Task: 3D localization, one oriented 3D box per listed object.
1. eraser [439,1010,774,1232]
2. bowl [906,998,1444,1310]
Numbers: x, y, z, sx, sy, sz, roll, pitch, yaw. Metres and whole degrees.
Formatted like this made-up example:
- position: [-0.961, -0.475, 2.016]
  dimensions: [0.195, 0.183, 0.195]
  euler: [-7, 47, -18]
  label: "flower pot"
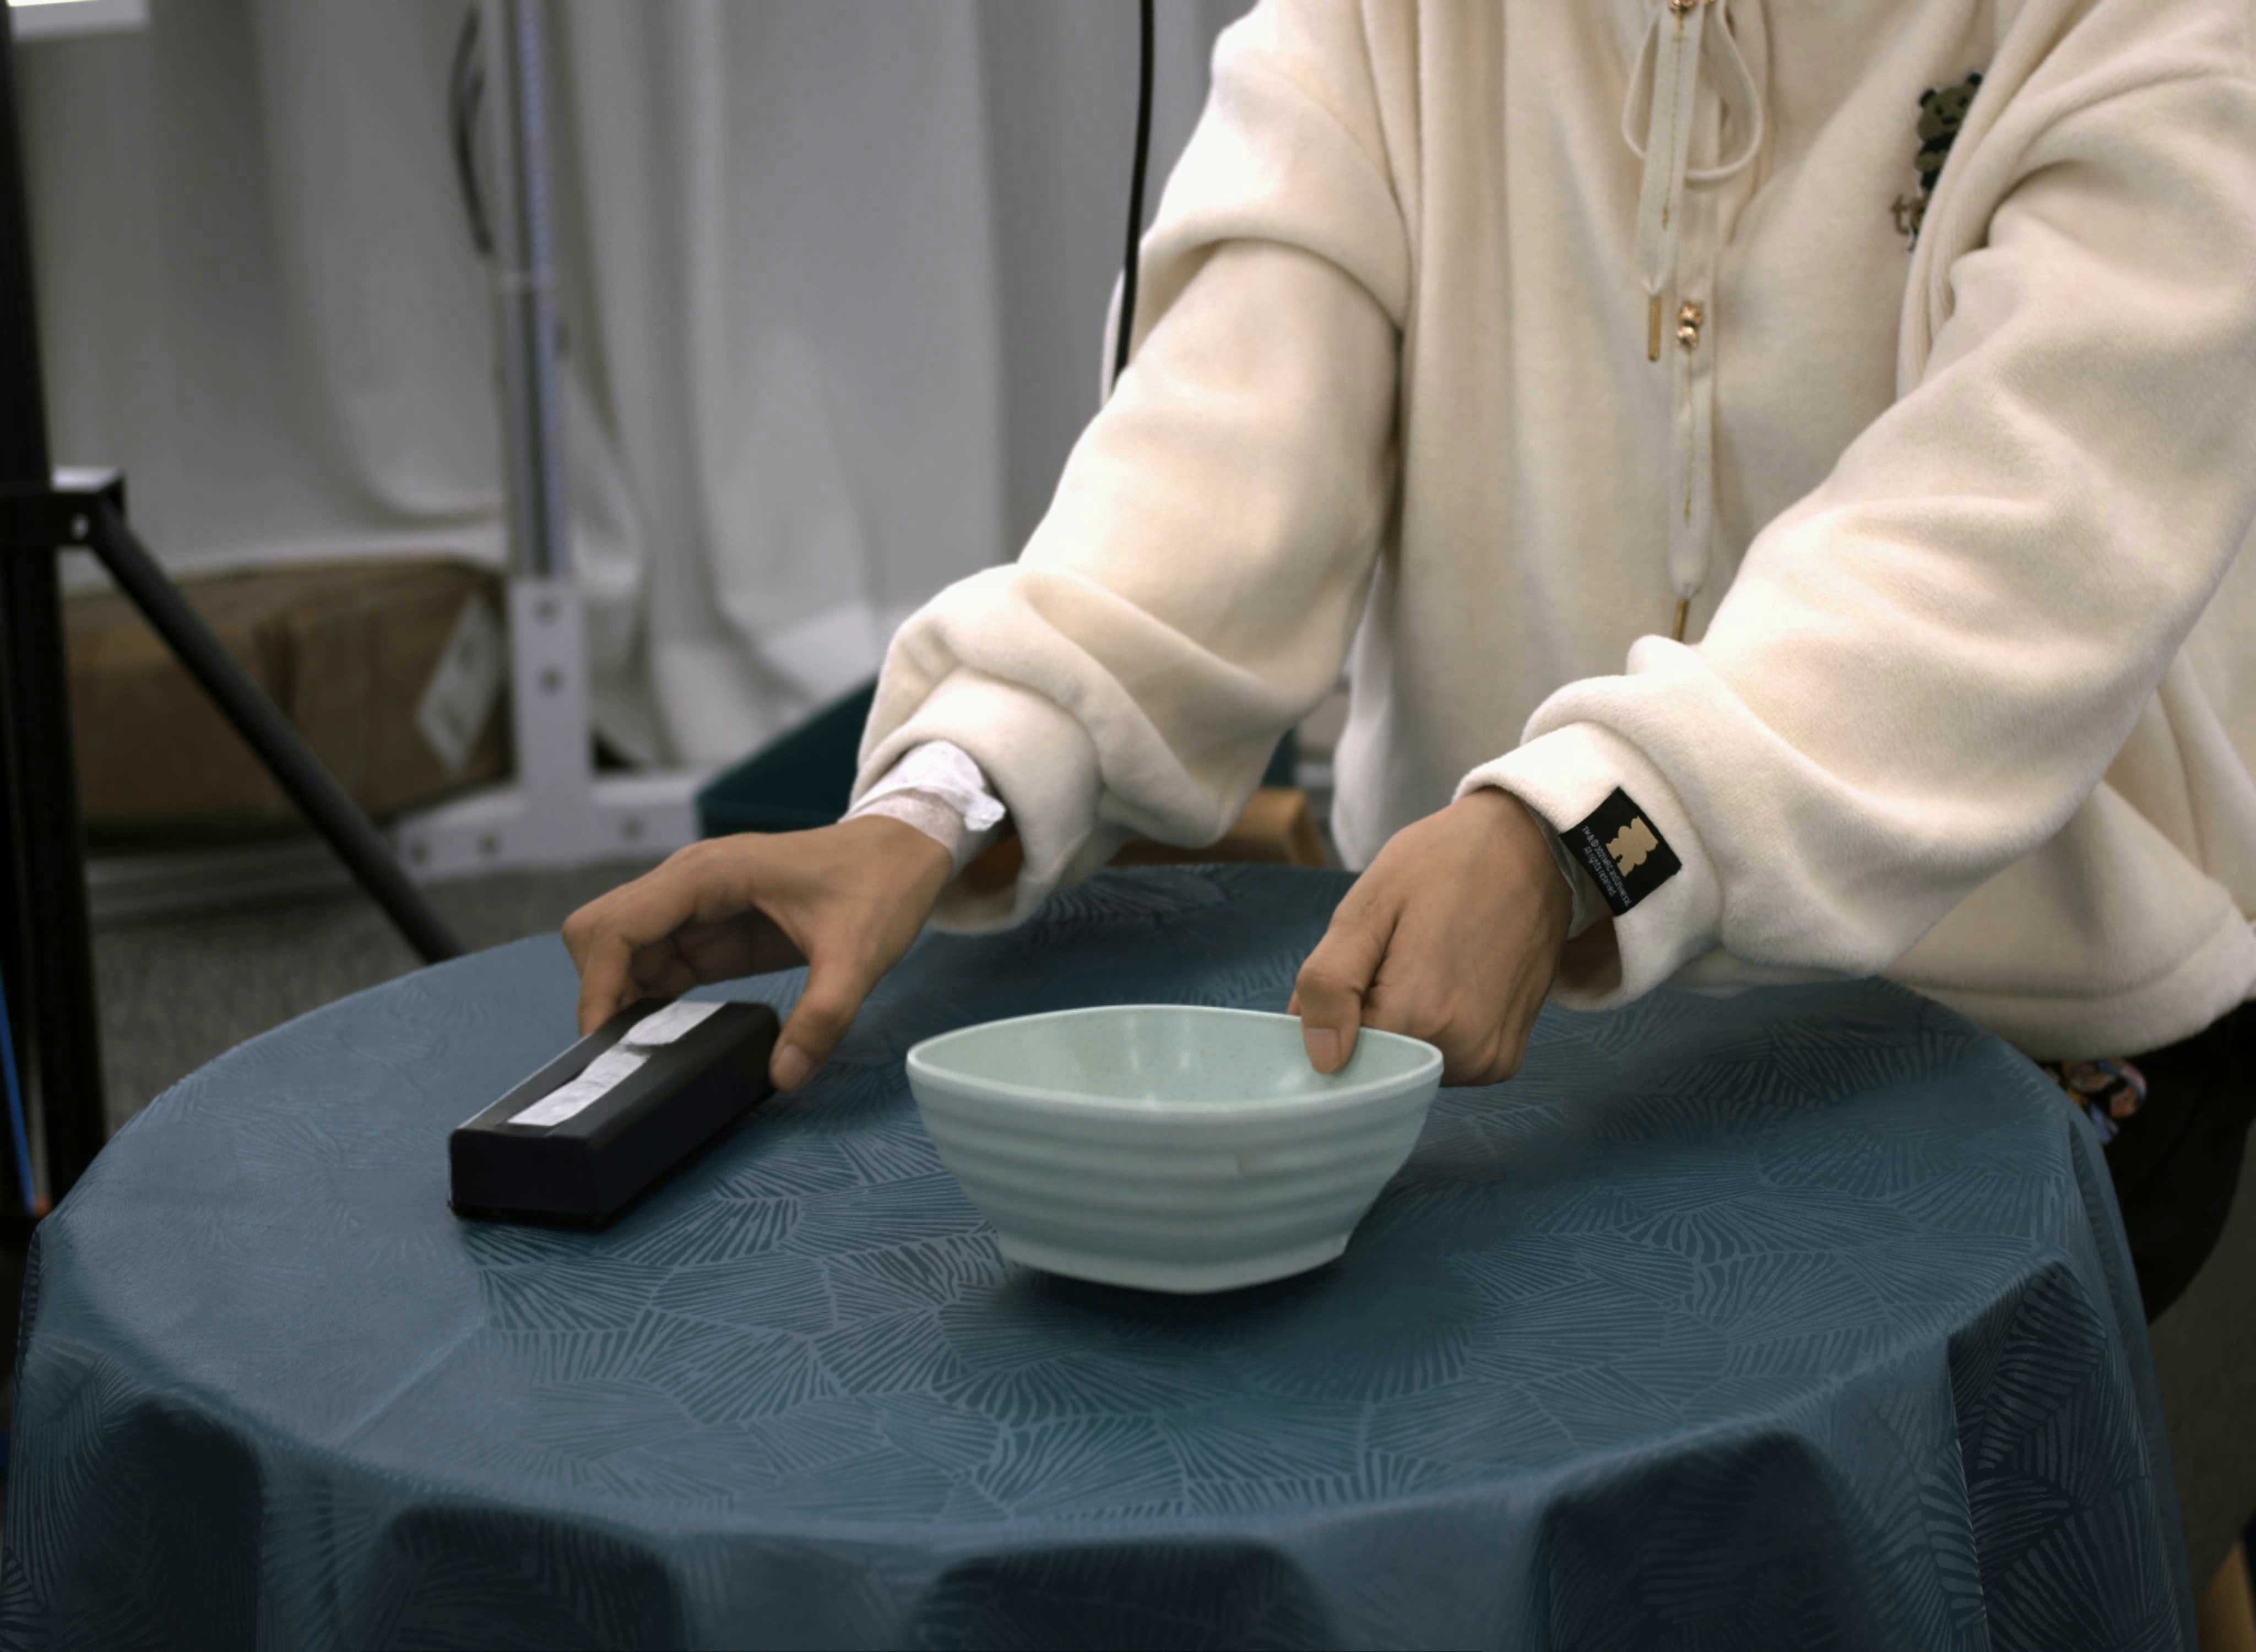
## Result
- position: [-0.155, 0.088, 1.601]
  dimensions: [0.054, 0.030, 0.124]
  euler: [3, 16, 22]
  label: "eraser"
- position: [0.012, 0.094, 1.483]
  dimensions: [0.150, 0.059, 0.152]
  euler: [2, 11, -2]
  label: "bowl"
